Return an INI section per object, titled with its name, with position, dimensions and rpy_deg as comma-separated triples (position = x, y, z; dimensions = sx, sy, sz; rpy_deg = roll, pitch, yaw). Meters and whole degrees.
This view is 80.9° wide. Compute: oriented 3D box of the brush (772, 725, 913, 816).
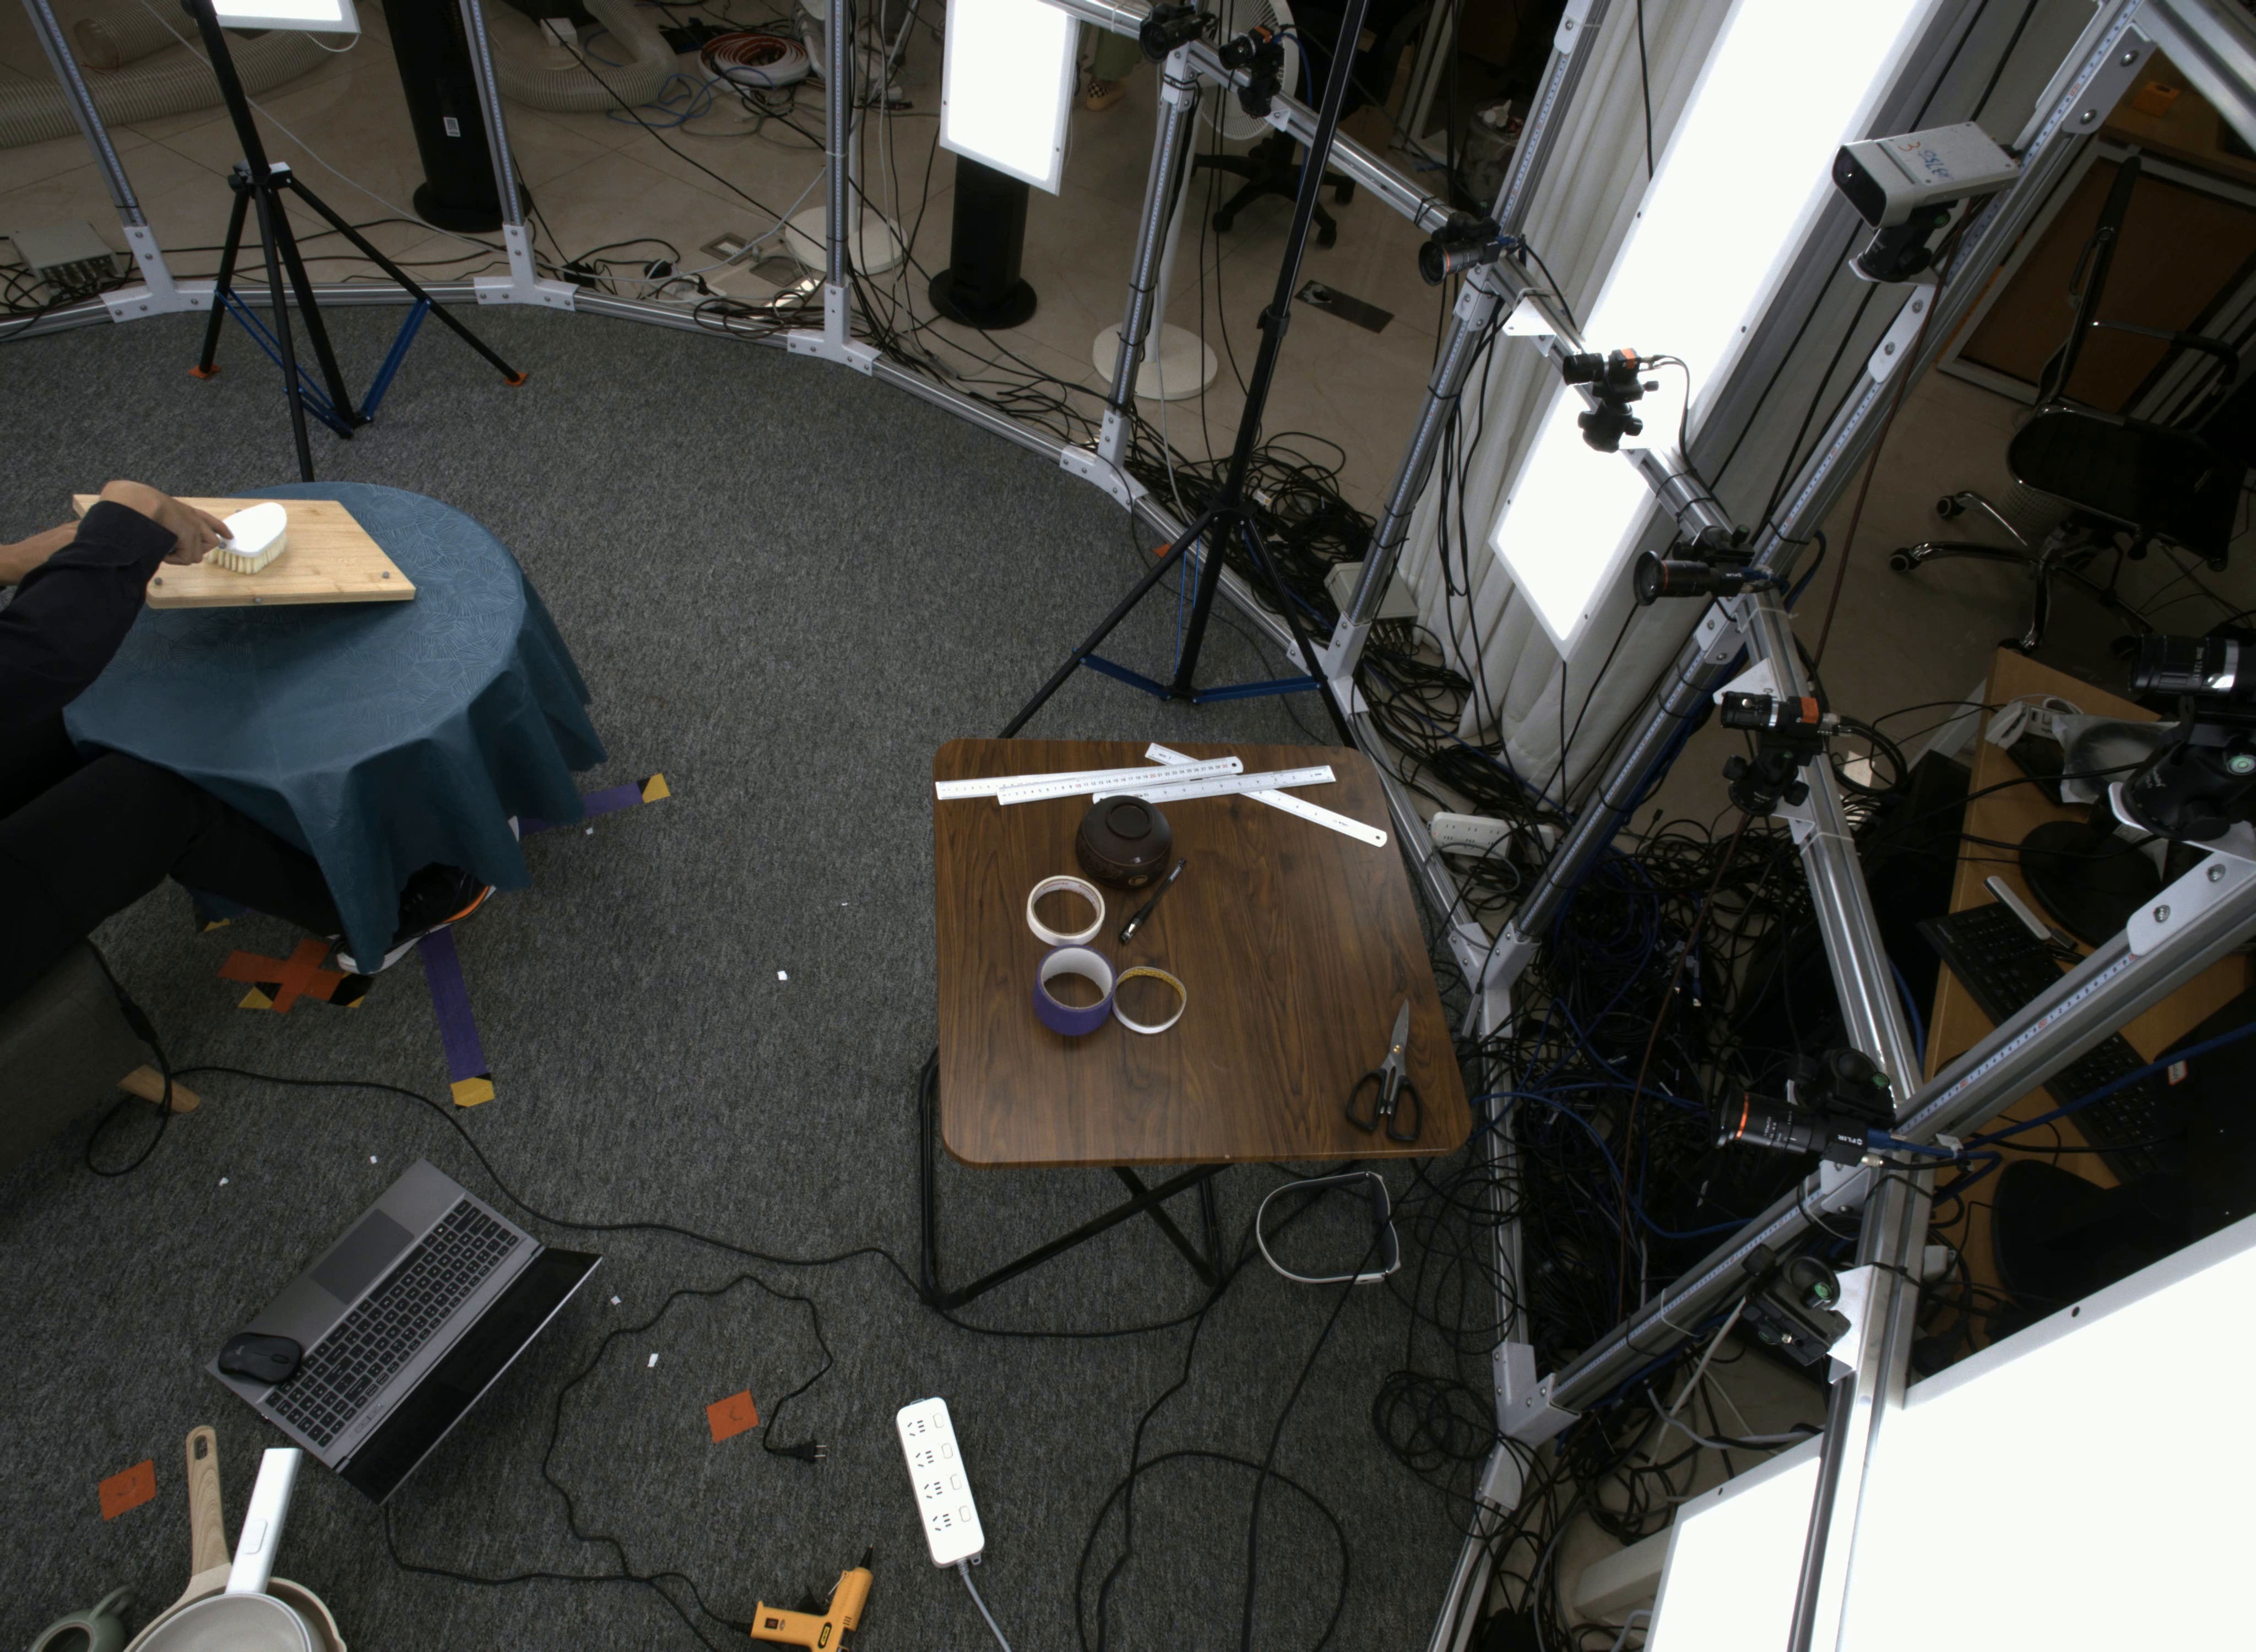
[brush]
position = -0.441, -0.069, 1.956
dimensions = 0.081, 0.084, 0.334
rpy_deg = -7, -14, 24

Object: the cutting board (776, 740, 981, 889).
[cutting board]
position = -0.400, -0.022, 2.083
dimensions = 0.356, 0.024, 0.243
rpy_deg = 26, 15, -26
